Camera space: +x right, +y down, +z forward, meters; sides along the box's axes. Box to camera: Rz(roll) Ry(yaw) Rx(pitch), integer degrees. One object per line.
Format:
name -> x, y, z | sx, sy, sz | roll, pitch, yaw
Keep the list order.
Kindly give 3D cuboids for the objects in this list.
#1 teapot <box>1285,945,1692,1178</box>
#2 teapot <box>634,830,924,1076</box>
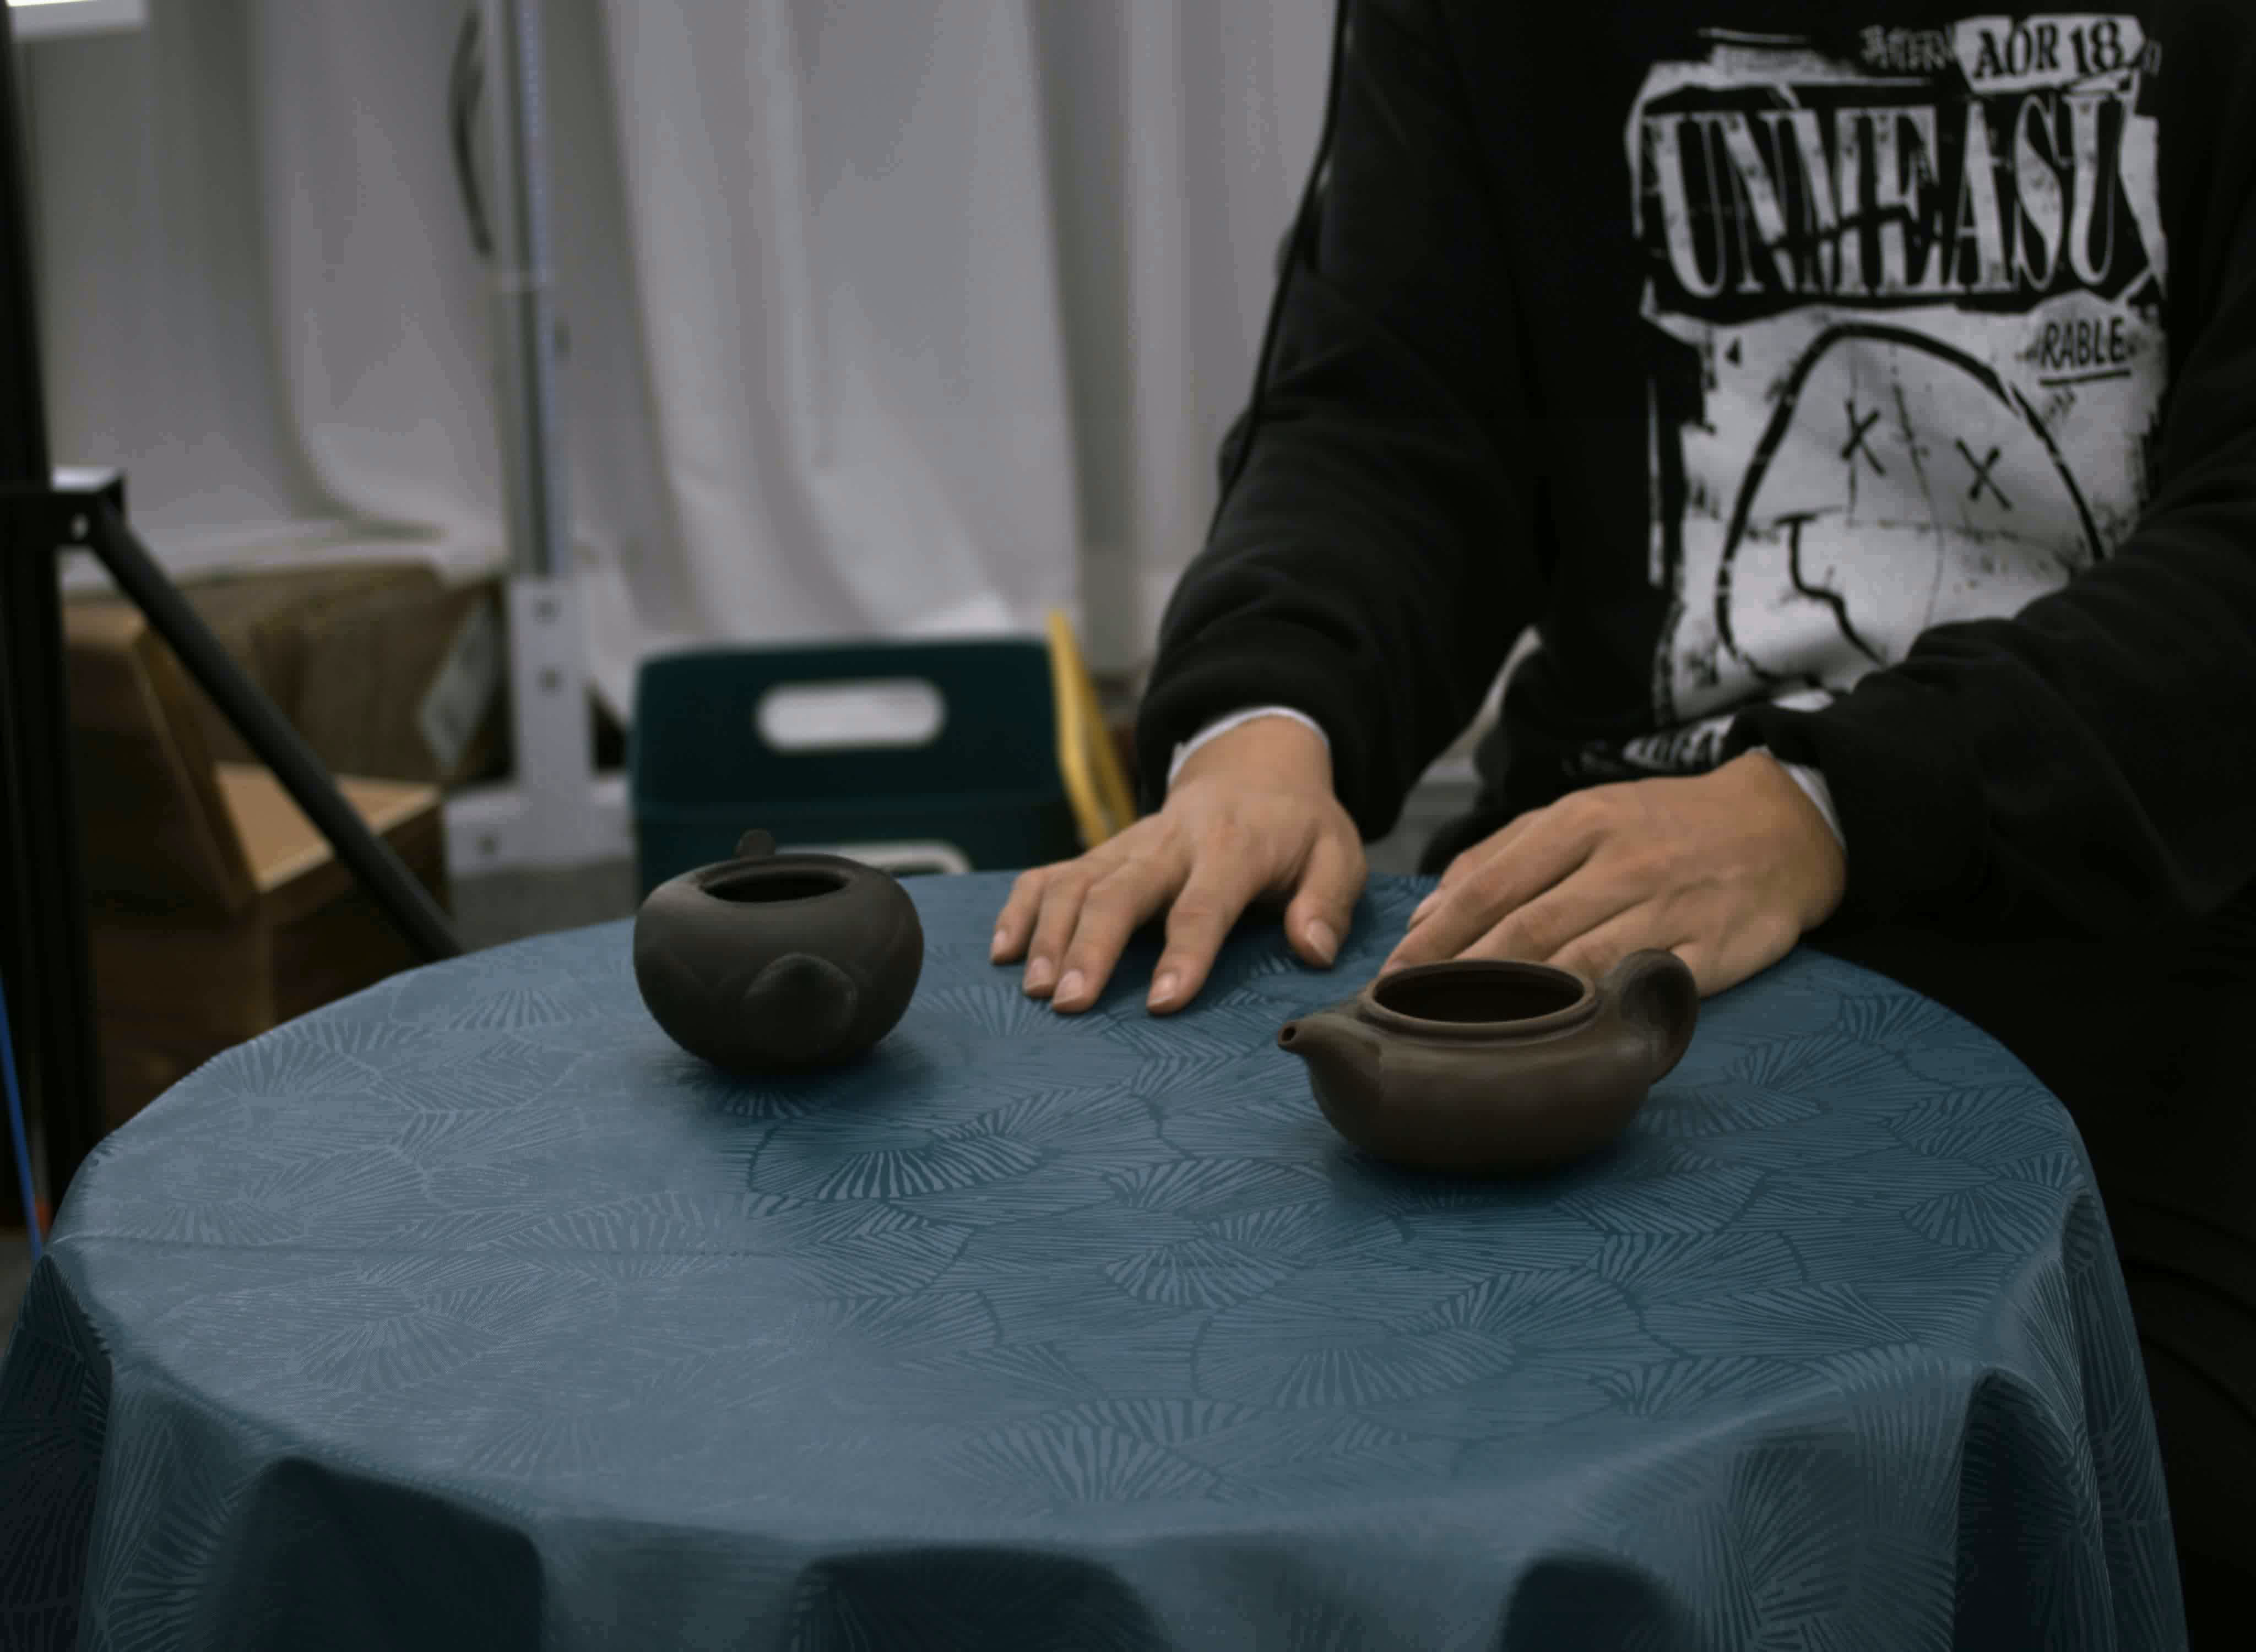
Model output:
teapot -> 0.108, 0.069, 1.575 | 0.150, 0.054, 0.105 | -15, 22, -36
teapot -> -0.111, 0.041, 1.694 | 0.091, 0.064, 0.156 | -3, 16, -9
